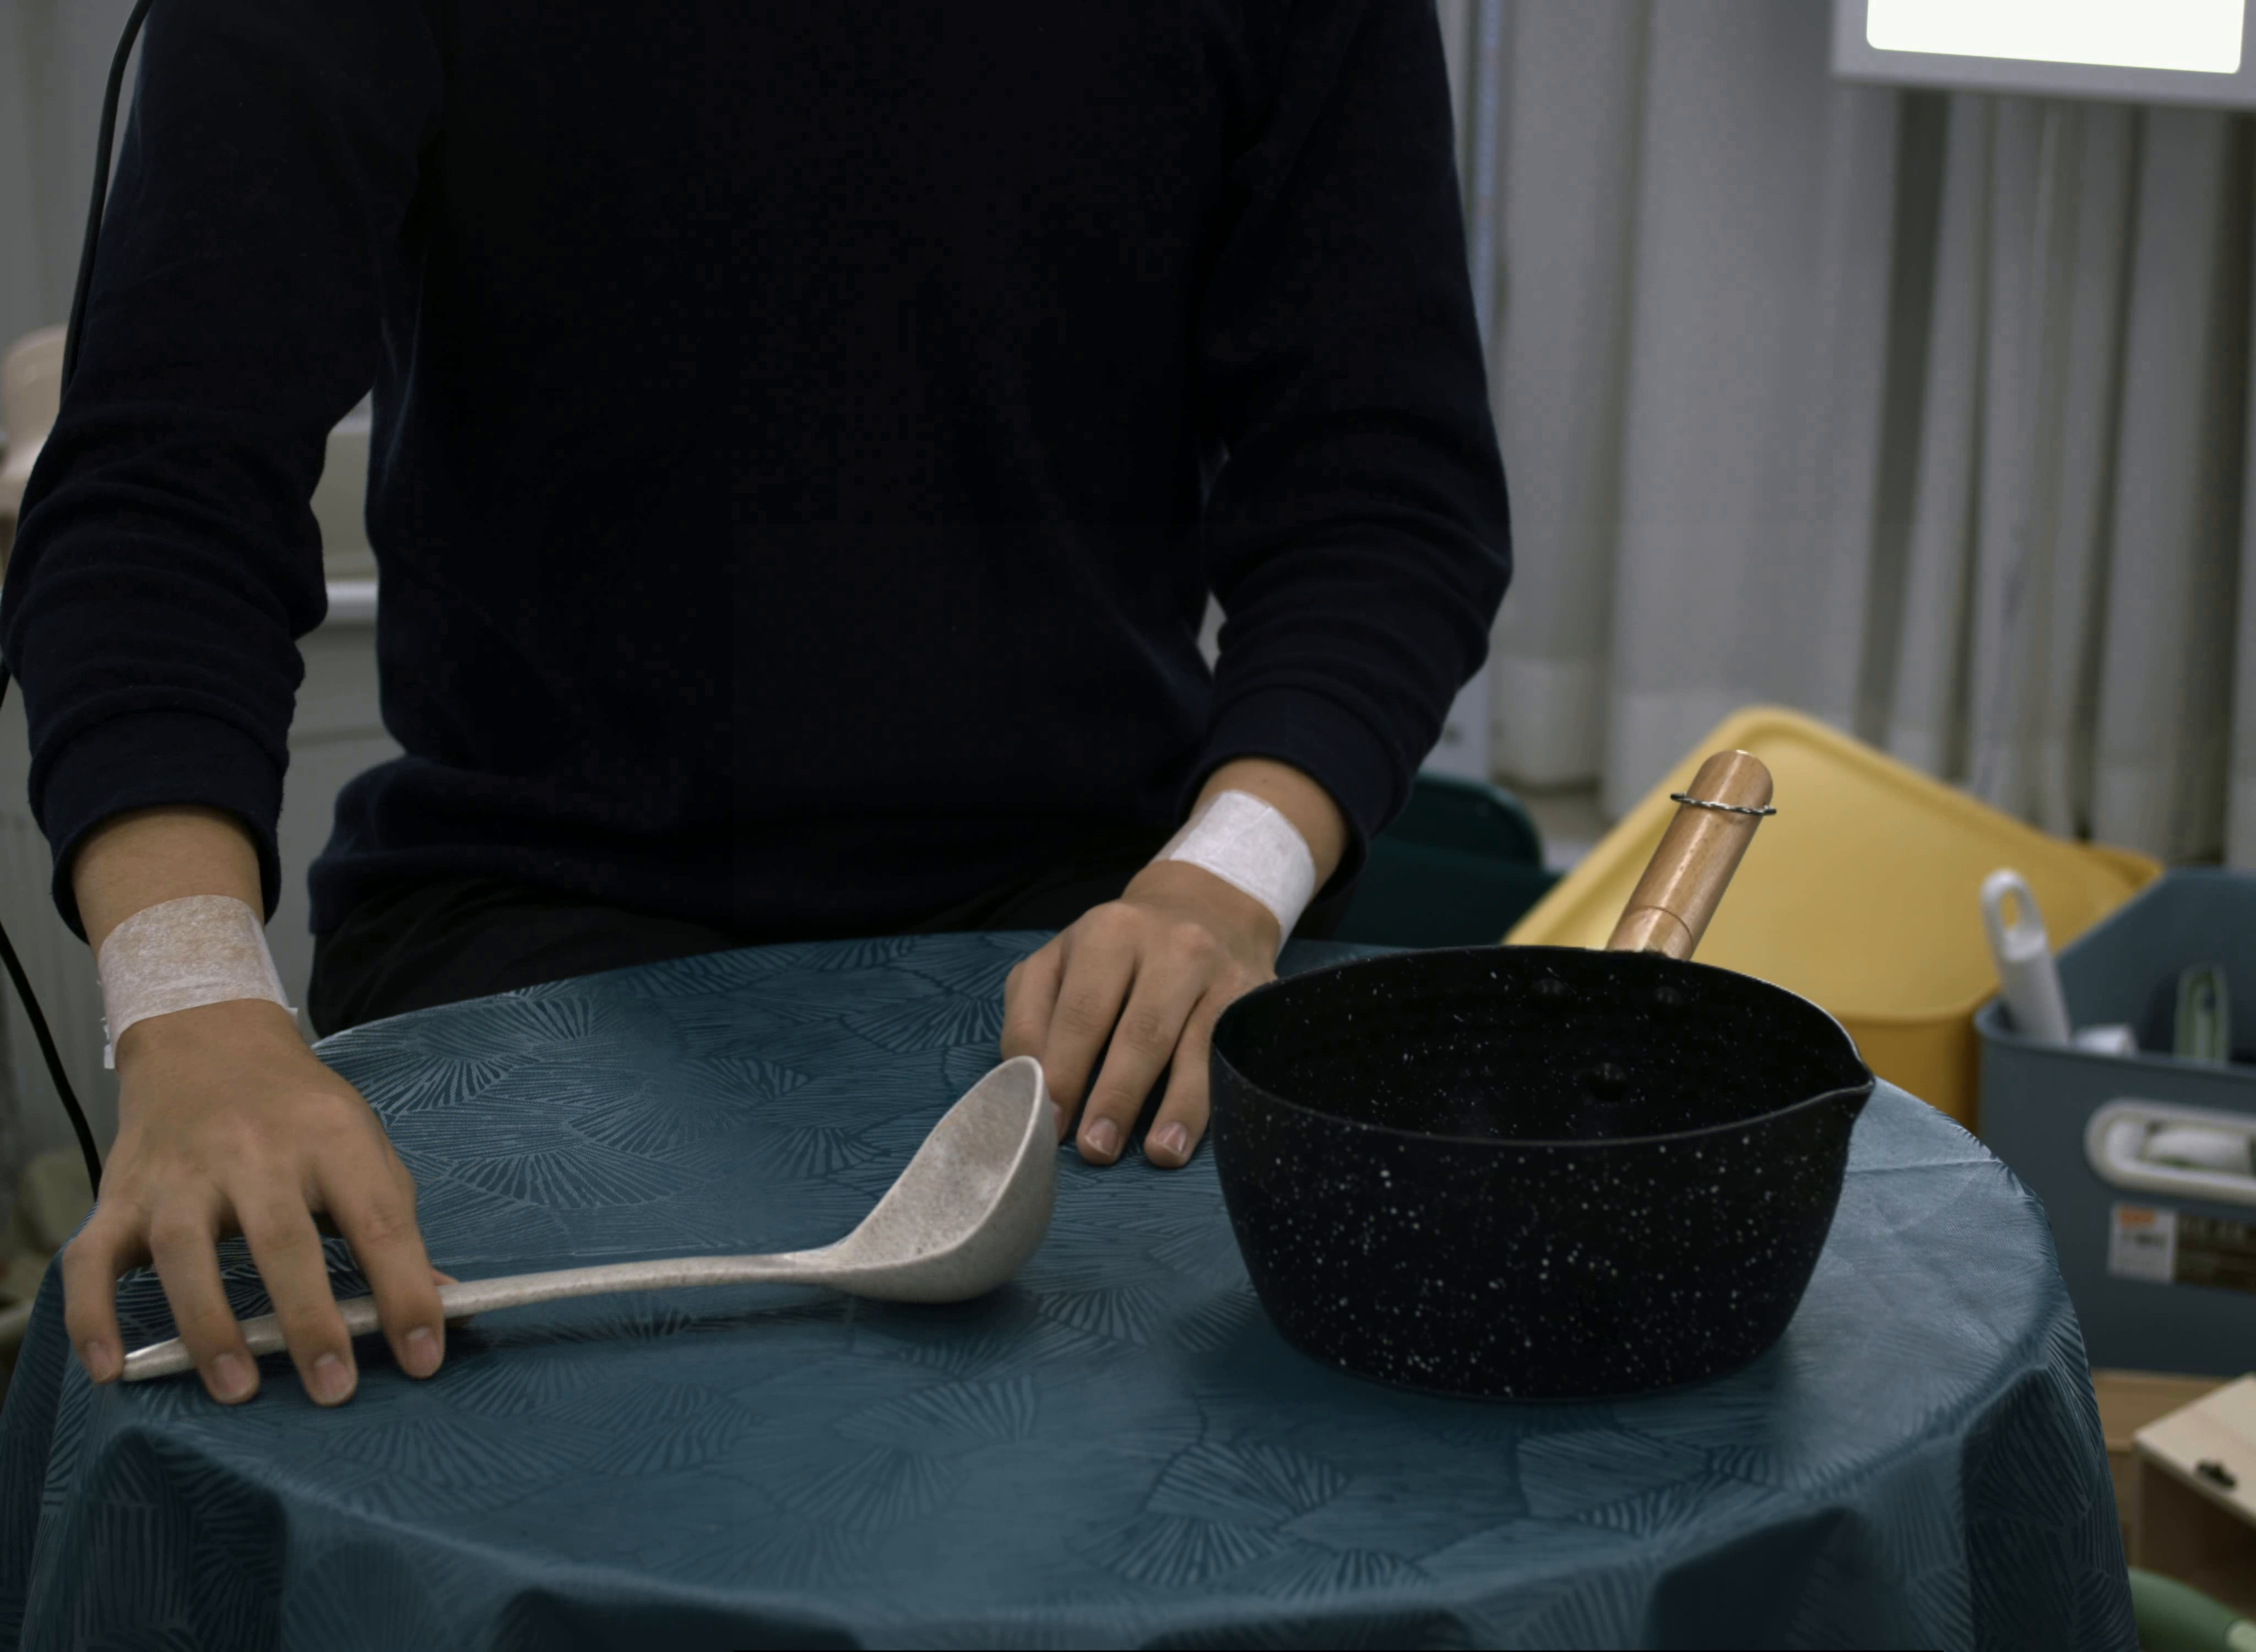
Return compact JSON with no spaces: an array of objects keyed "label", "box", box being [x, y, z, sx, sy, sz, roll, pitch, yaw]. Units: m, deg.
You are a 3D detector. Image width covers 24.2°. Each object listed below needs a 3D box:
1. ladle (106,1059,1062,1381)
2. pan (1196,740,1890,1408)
[{"label":"ladle","box":[-0.153,0.111,1.495,0.275,0.070,0.088,-4,14,-16]},{"label":"pan","box":[0.140,0.069,1.581,0.205,0.109,0.343,5,18,18]}]
